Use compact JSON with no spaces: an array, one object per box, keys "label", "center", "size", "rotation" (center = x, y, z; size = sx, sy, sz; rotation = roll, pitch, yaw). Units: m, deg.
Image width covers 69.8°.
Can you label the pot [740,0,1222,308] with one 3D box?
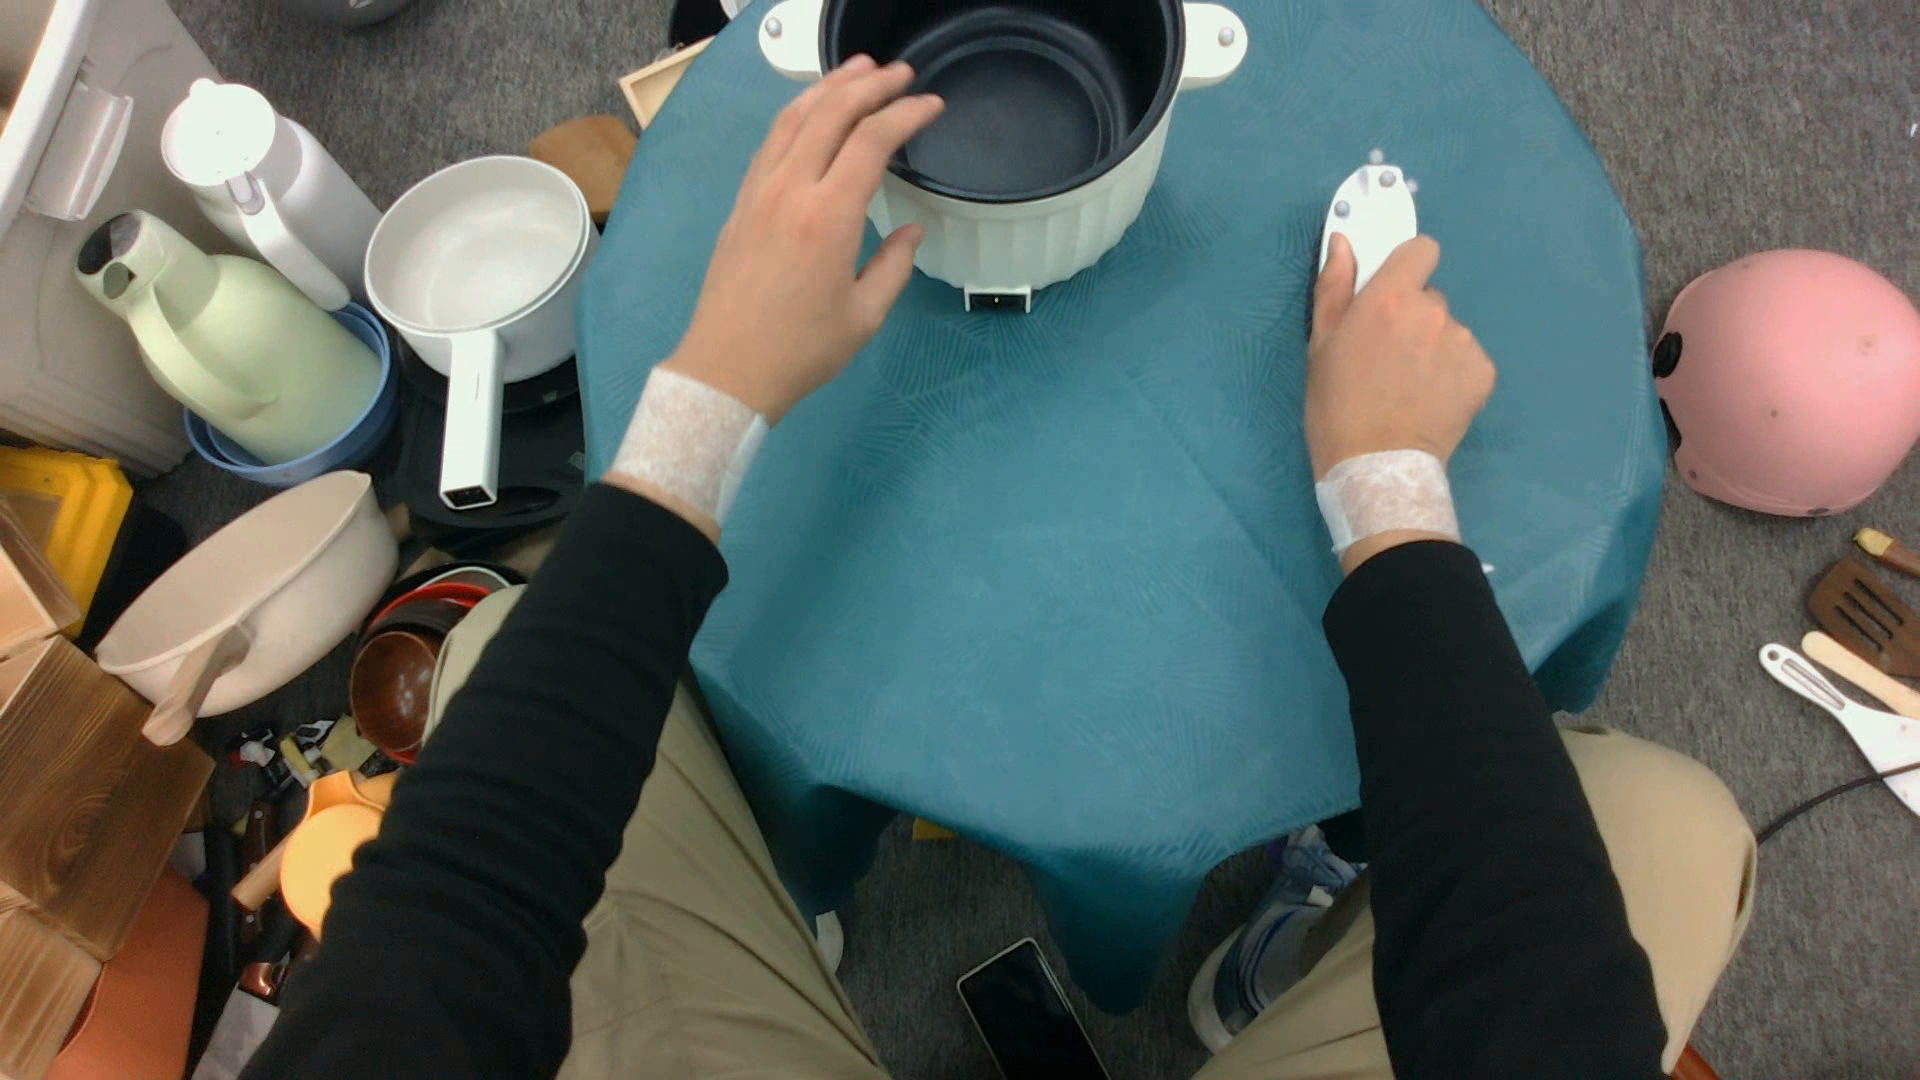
[{"label":"pot","center":[0.010,-0.237,0.747],"size":[0.240,0.142,0.191],"rotation":[1,77,0]}]

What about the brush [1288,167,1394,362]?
[{"label":"brush","center":[0.213,-0.157,0.755],"size":[0.050,0.072,0.099],"rotation":[10,75,4]}]
